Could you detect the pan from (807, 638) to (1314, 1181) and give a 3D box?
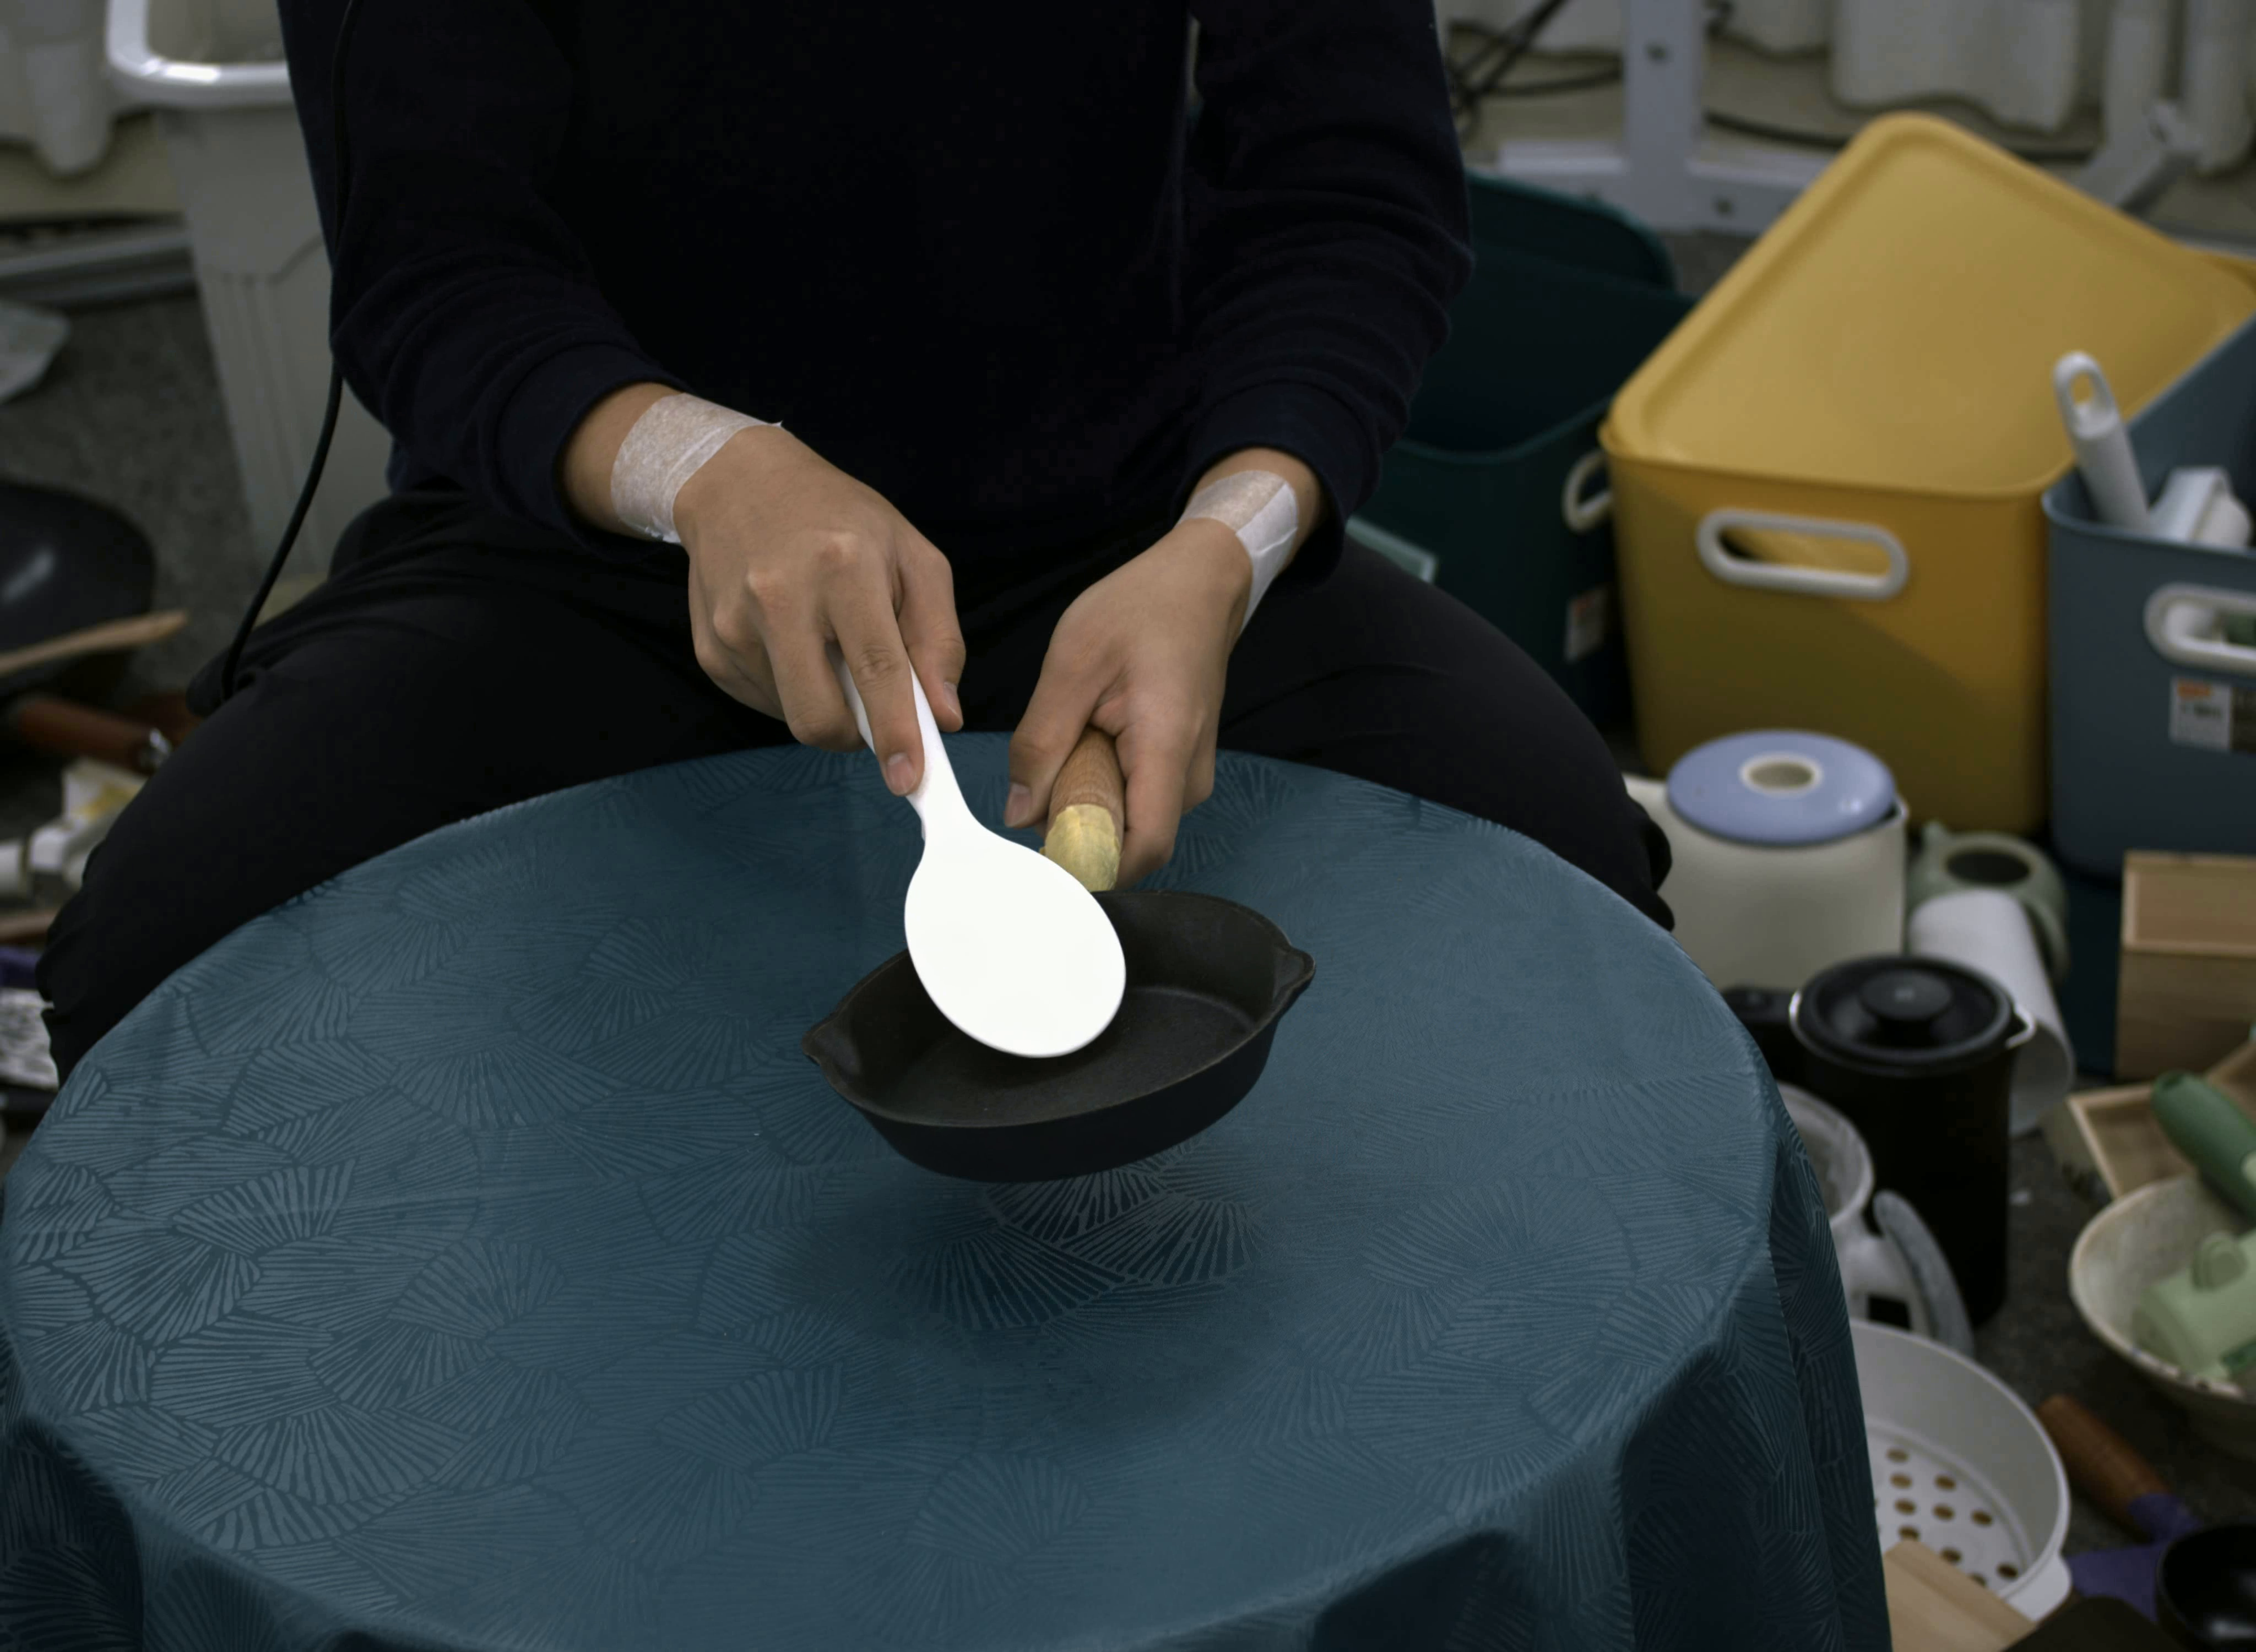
[{"bbox_3d":[-0.014,0.025,1.894,0.168,0.049,0.329,-8,26,9],"label":"pan"}]

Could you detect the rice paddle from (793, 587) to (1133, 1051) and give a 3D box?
[{"bbox_3d":[-0.059,-0.001,1.892,0.069,0.029,0.208,-17,51,-18],"label":"rice paddle"}]
